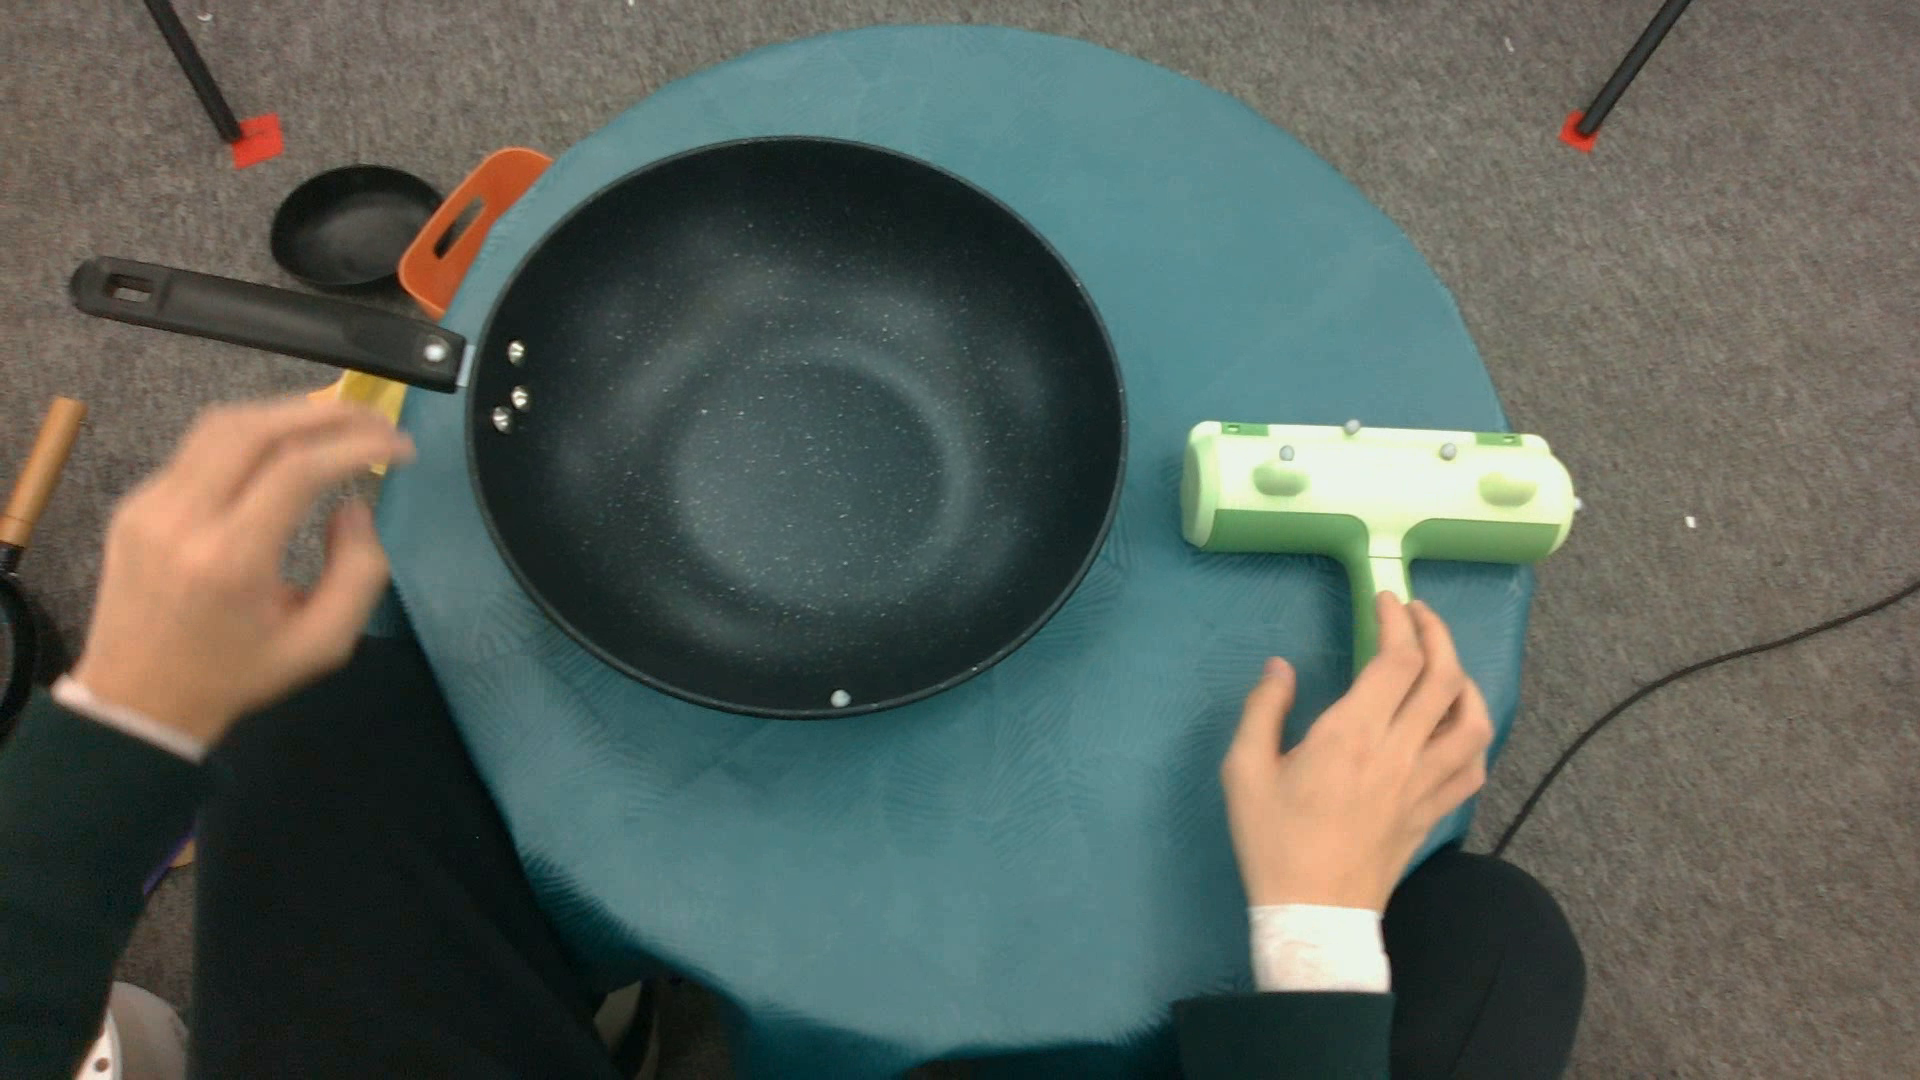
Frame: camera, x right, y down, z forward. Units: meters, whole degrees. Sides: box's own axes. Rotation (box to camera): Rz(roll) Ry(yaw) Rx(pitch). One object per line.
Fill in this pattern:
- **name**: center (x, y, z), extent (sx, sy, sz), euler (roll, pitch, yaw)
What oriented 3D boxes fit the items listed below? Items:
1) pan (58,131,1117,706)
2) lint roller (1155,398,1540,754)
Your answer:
- **pan**: center (-0.164, -0.067, 0.669), extent (0.477, 0.111, 0.311), euler (5, 65, -5)
- **lint roller**: center (0.205, 0.010, 0.694), extent (0.199, 0.082, 0.184), euler (1, 62, -6)
